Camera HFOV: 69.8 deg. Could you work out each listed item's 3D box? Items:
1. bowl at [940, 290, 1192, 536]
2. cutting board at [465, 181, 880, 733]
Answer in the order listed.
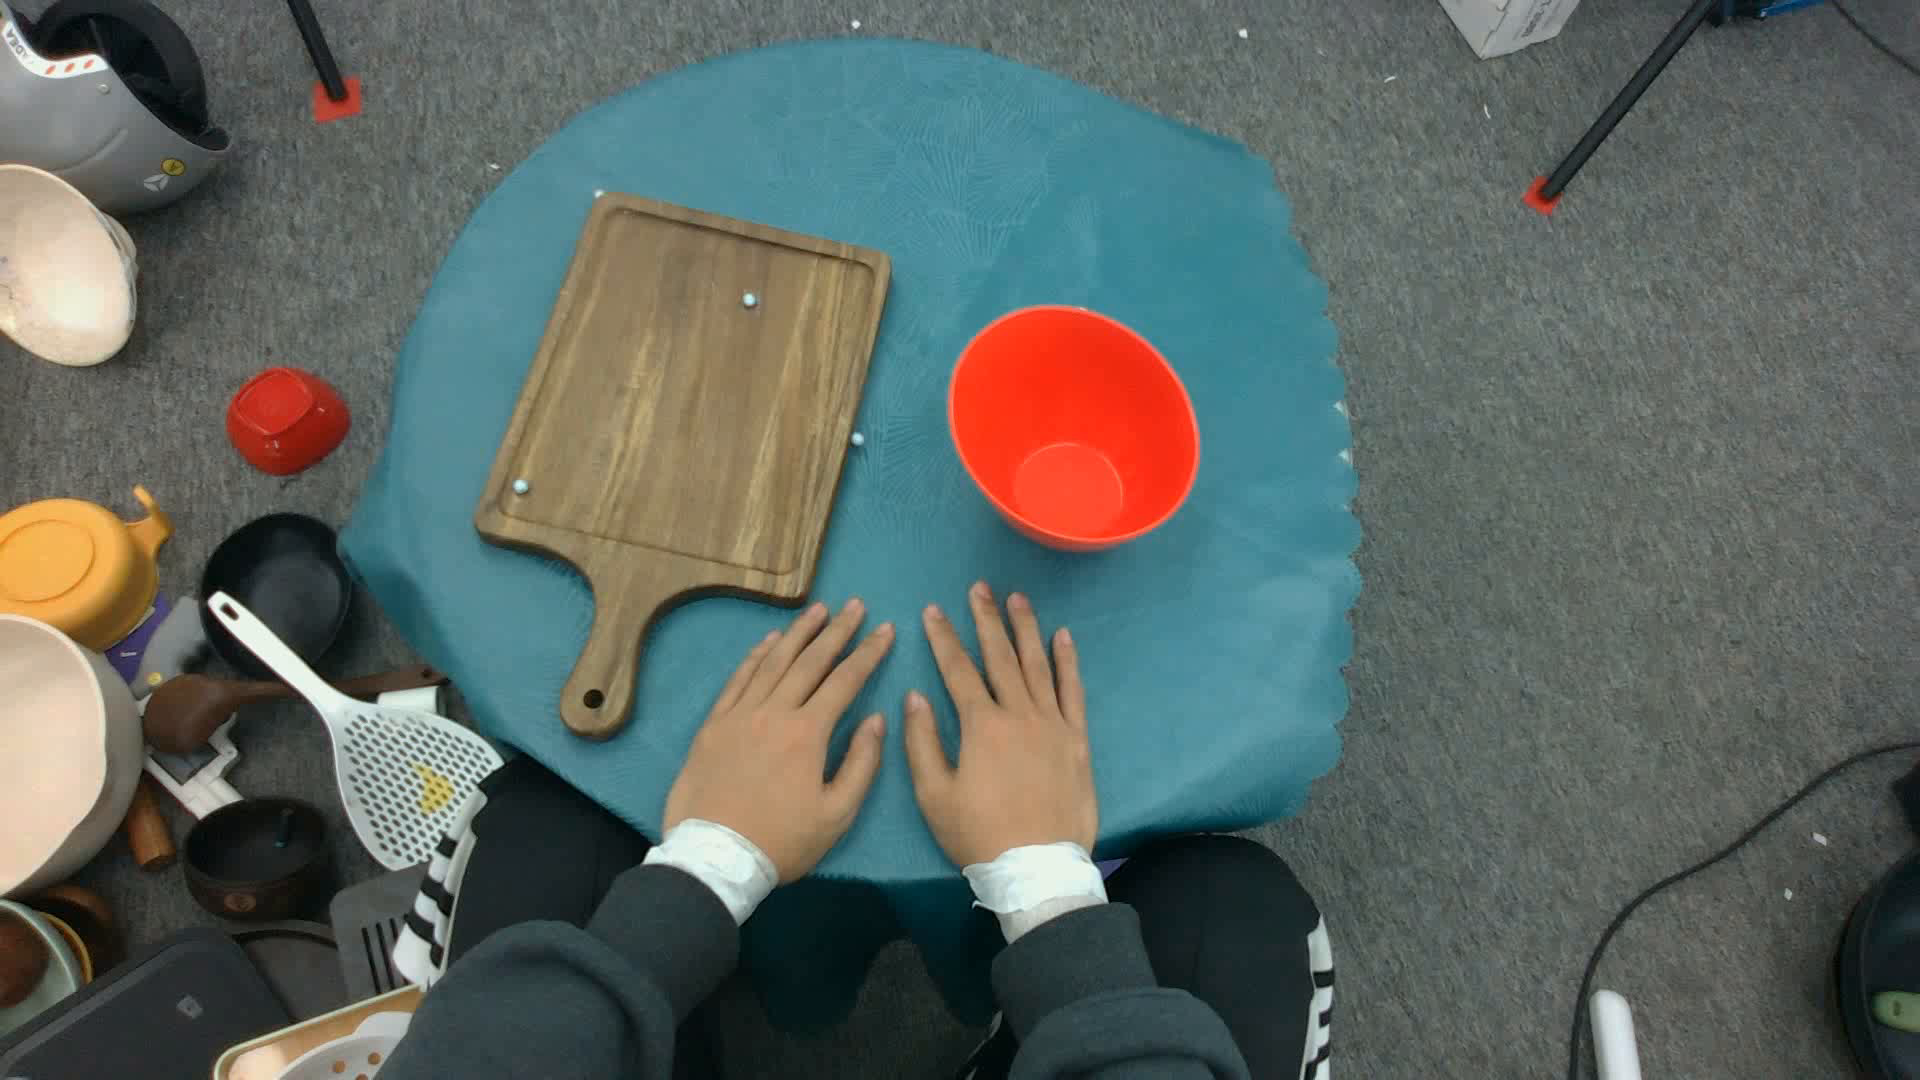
[{"bbox_3d":[0.057,-0.060,0.808,0.148,0.104,0.148,3,66,-6],"label":"bowl"},{"bbox_3d":[-0.176,-0.056,0.822,0.201,0.023,0.353,12,65,-1],"label":"cutting board"}]
